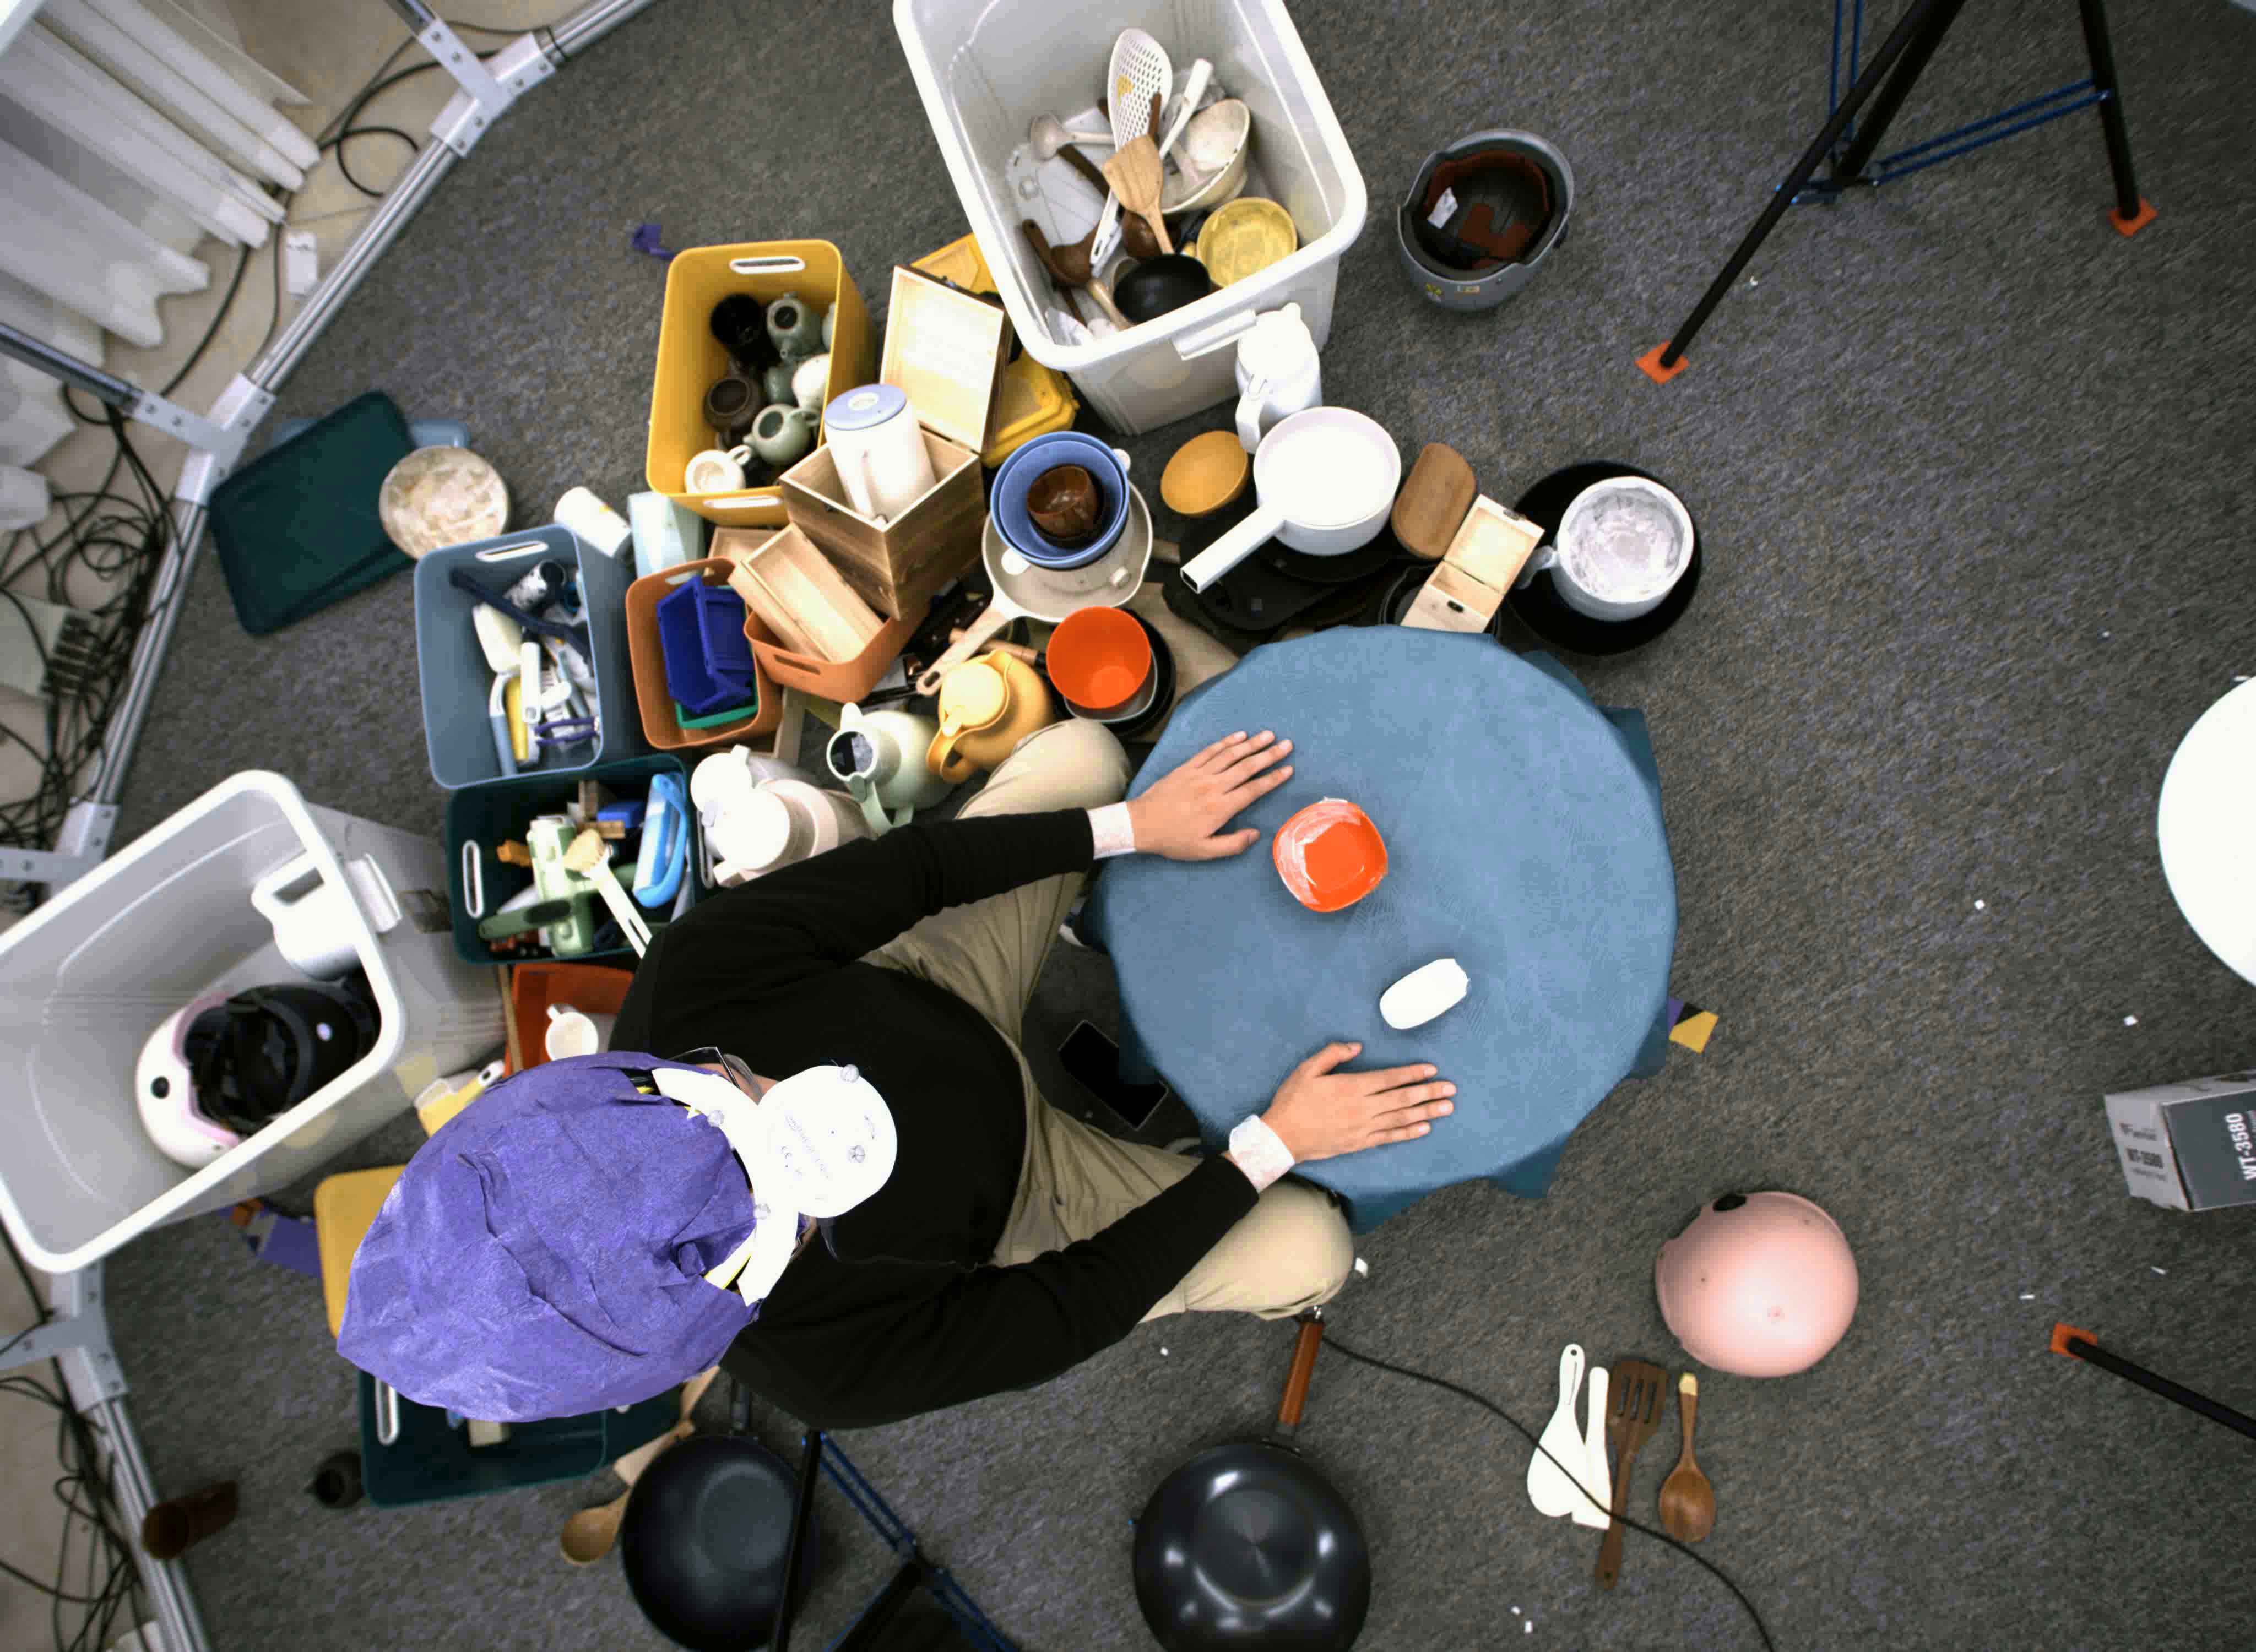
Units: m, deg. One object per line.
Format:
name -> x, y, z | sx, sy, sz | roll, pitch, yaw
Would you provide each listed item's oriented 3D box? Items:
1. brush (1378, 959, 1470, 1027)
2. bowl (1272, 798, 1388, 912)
brush -> 0.303, 0.170, 1.411 | 0.100, 0.072, 0.050 | -27, 82, 7
bowl -> 0.211, 0.031, 1.447 | 0.119, 0.051, 0.118 | -1, 86, 7
